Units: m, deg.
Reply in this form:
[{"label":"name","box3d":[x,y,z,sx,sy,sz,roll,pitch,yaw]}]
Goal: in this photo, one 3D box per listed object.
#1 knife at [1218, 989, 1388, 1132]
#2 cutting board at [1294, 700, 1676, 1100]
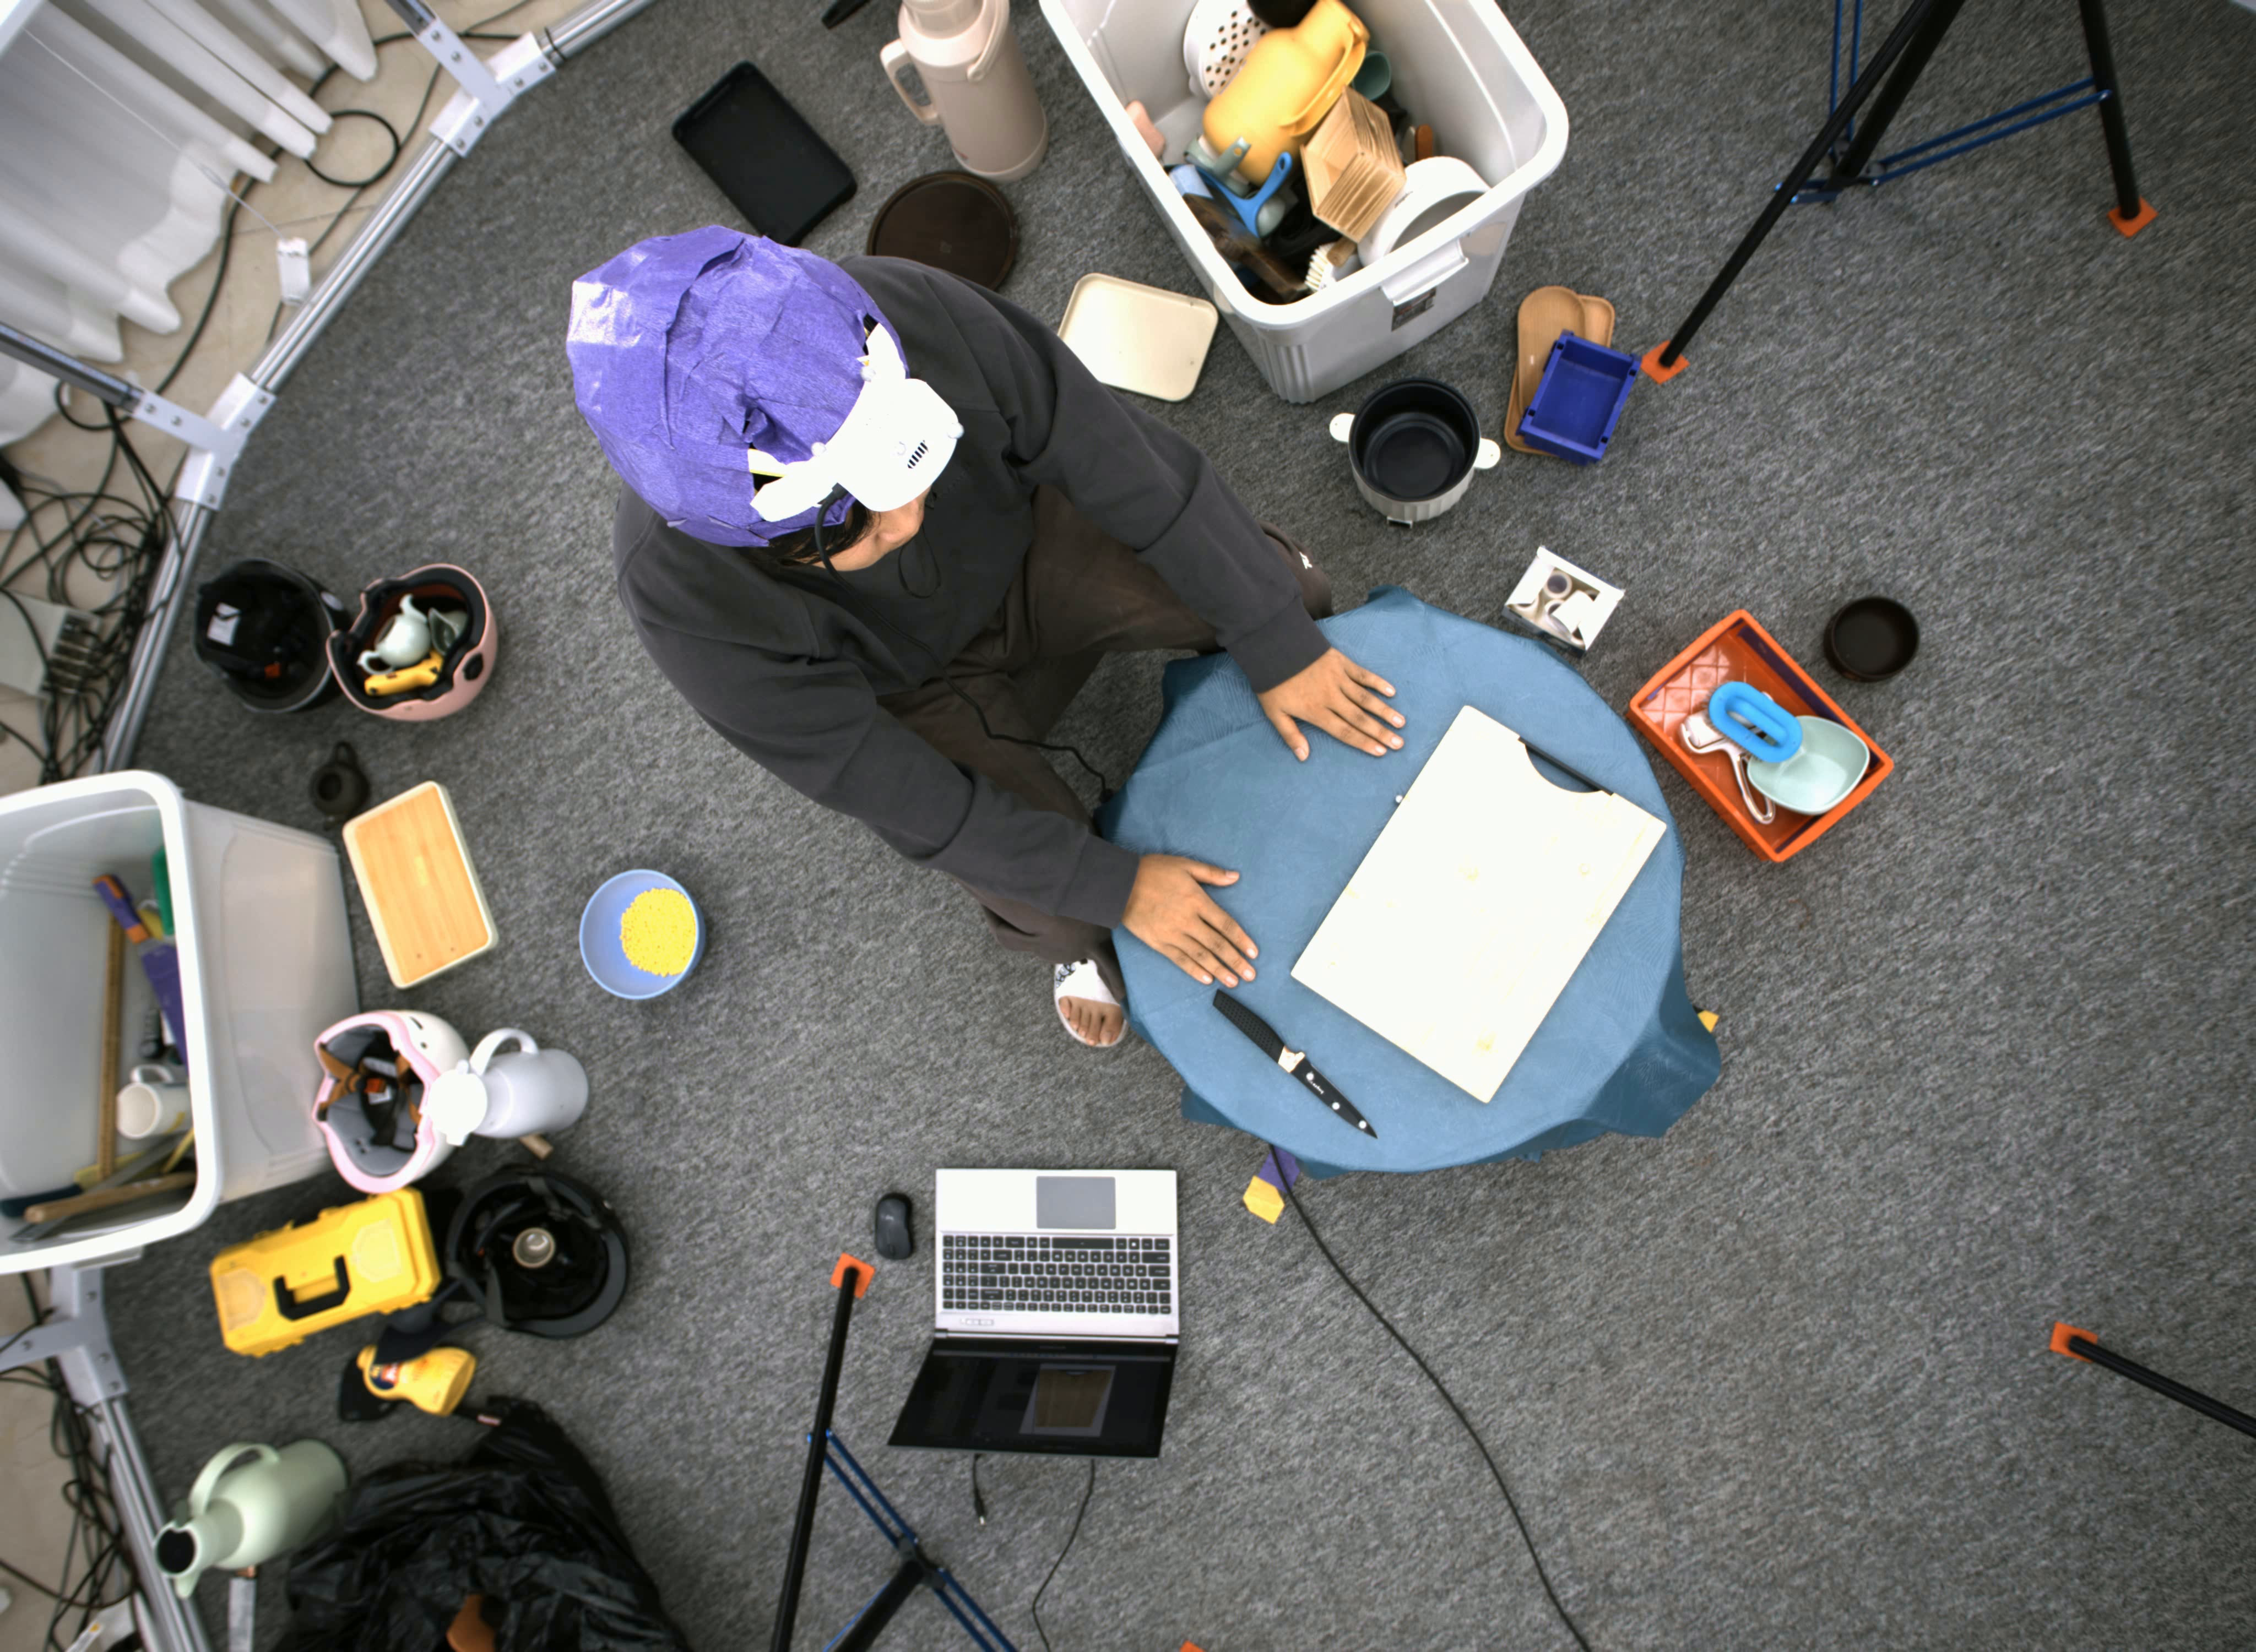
[{"label":"knife","box3d":[0.184,0.248,1.462,0.224,0.017,0.026,41,88,10]},{"label":"cutting board","box3d":[0.367,0.072,1.434,0.250,0.023,0.349,33,93,11]}]
